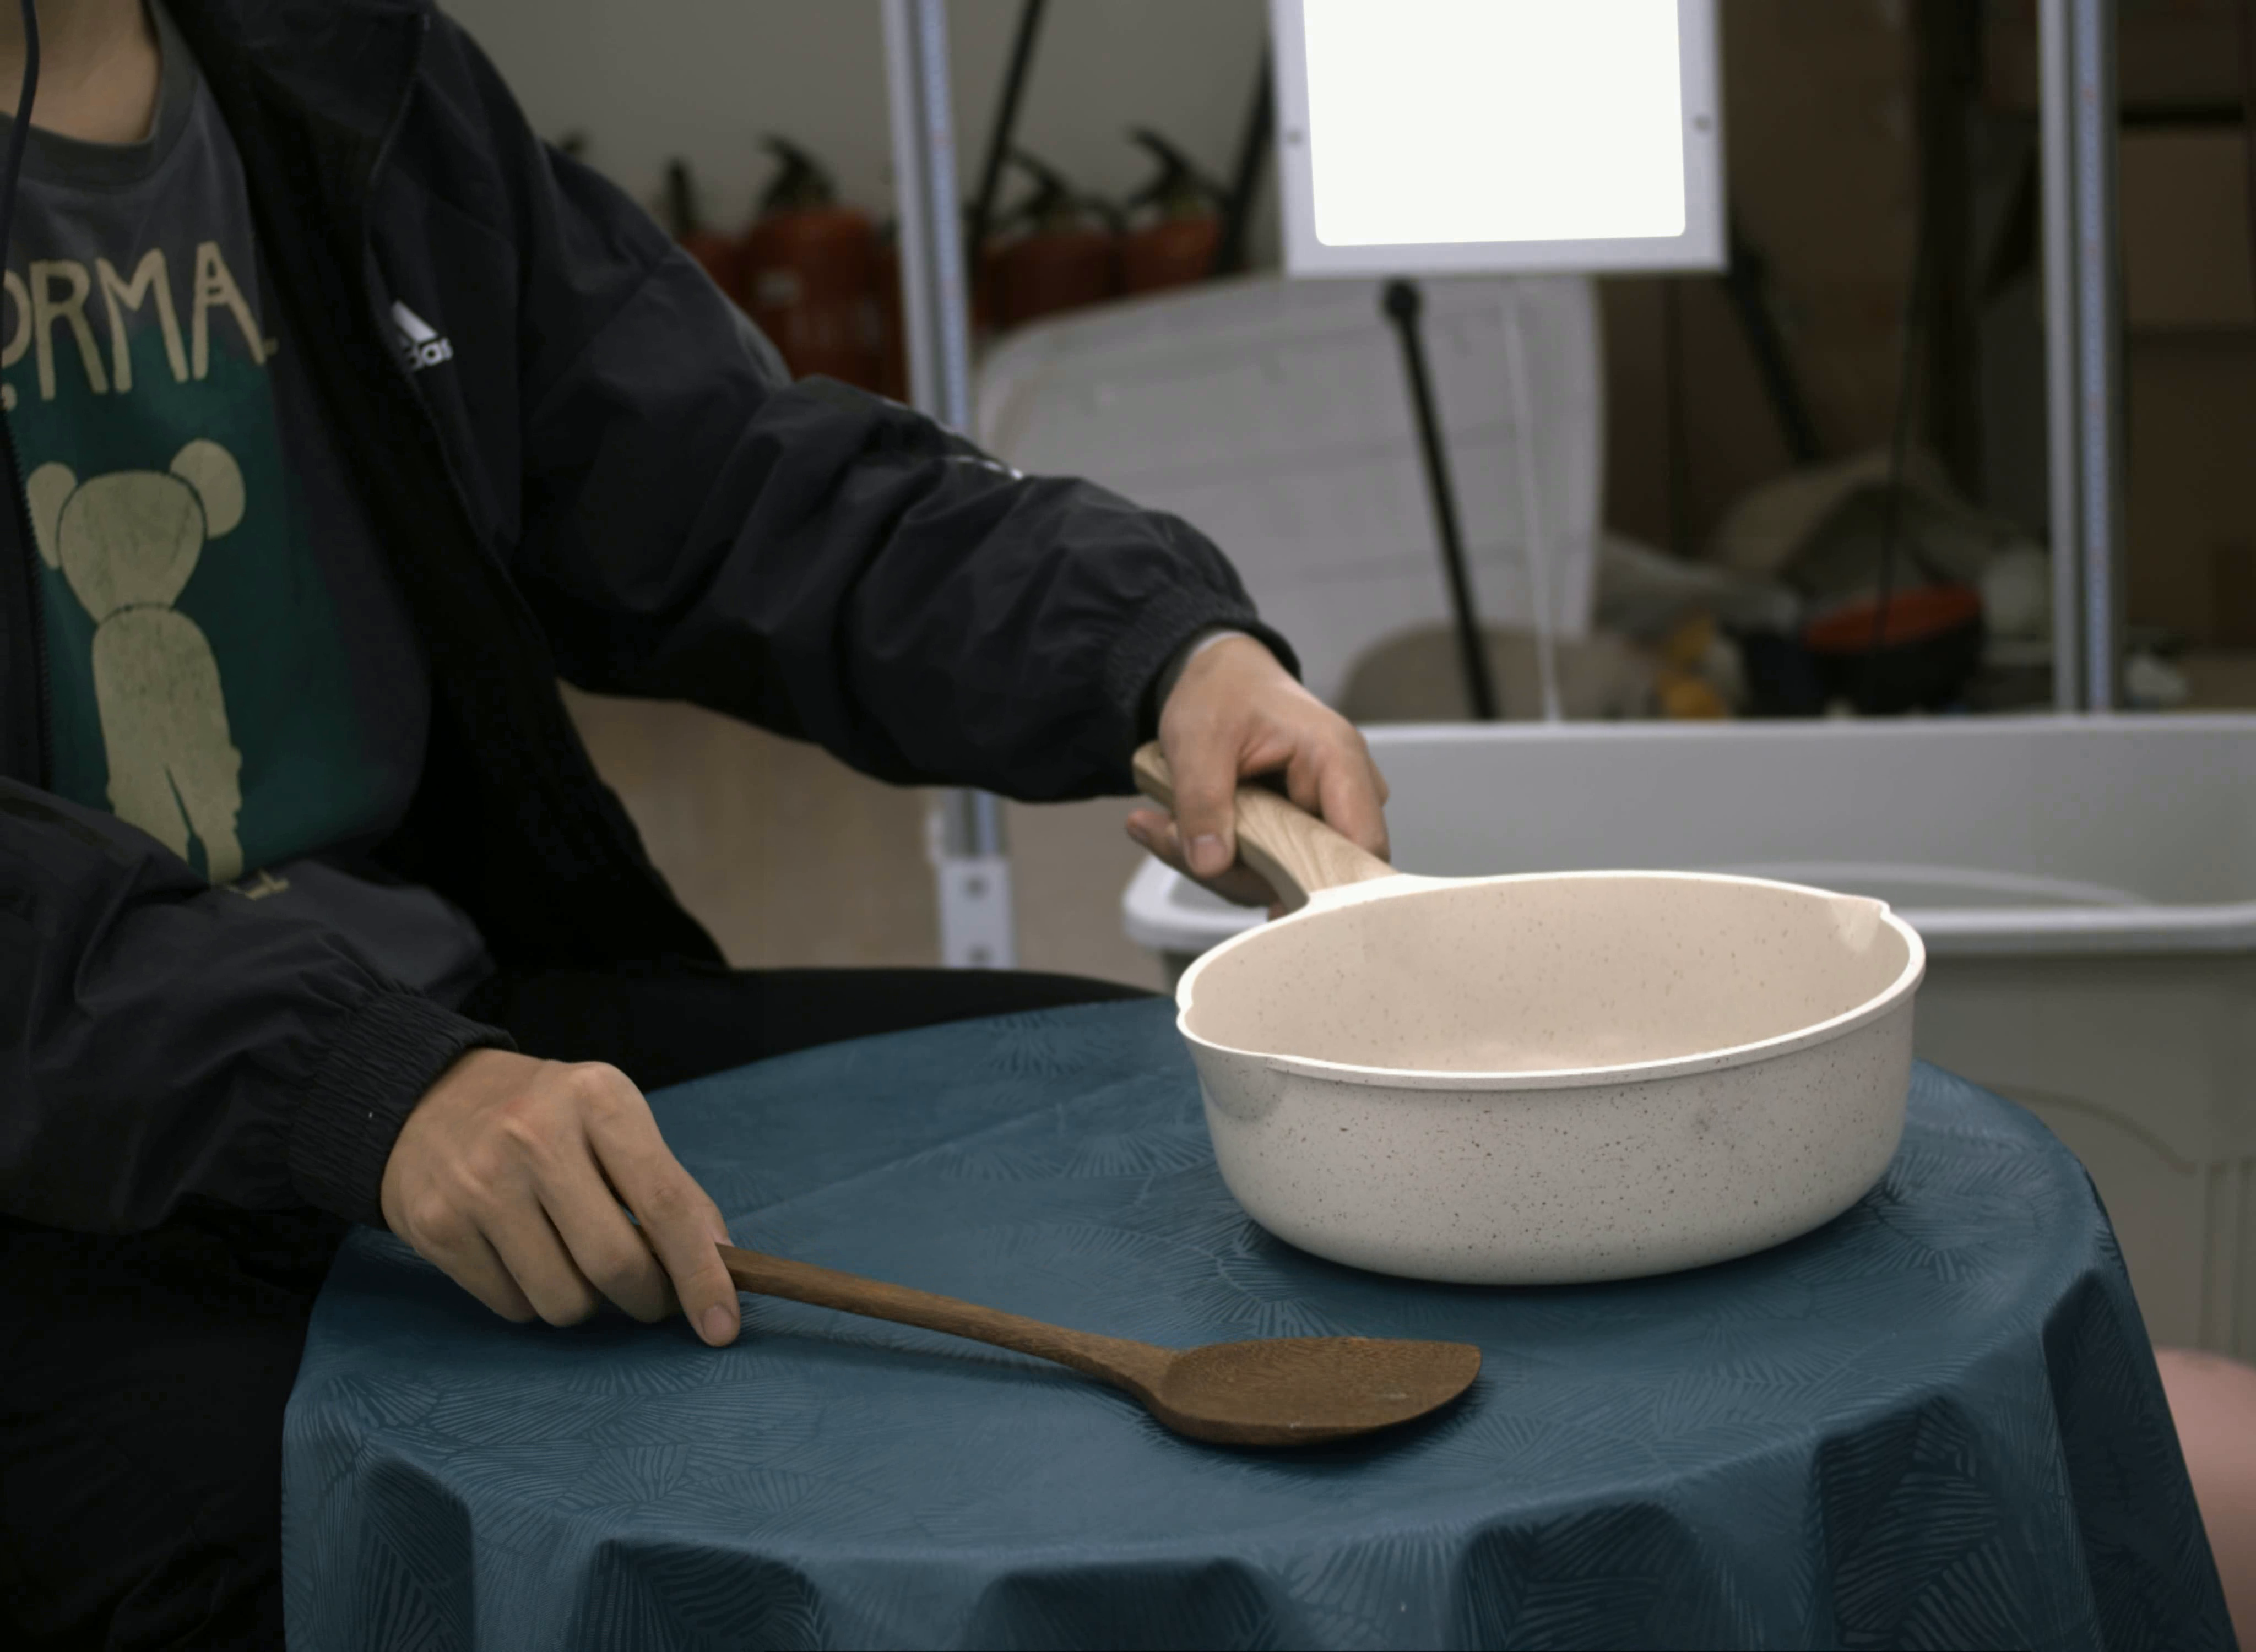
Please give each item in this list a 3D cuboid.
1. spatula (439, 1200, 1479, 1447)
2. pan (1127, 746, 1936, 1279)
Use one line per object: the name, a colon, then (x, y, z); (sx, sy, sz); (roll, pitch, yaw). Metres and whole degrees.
spatula: (-0.068, 0.153, 1.750); (0.393, 0.016, 0.094); (8, 17, 33)
pan: (0.109, 0.058, 1.922); (0.258, 0.102, 0.441); (-12, 16, -22)
